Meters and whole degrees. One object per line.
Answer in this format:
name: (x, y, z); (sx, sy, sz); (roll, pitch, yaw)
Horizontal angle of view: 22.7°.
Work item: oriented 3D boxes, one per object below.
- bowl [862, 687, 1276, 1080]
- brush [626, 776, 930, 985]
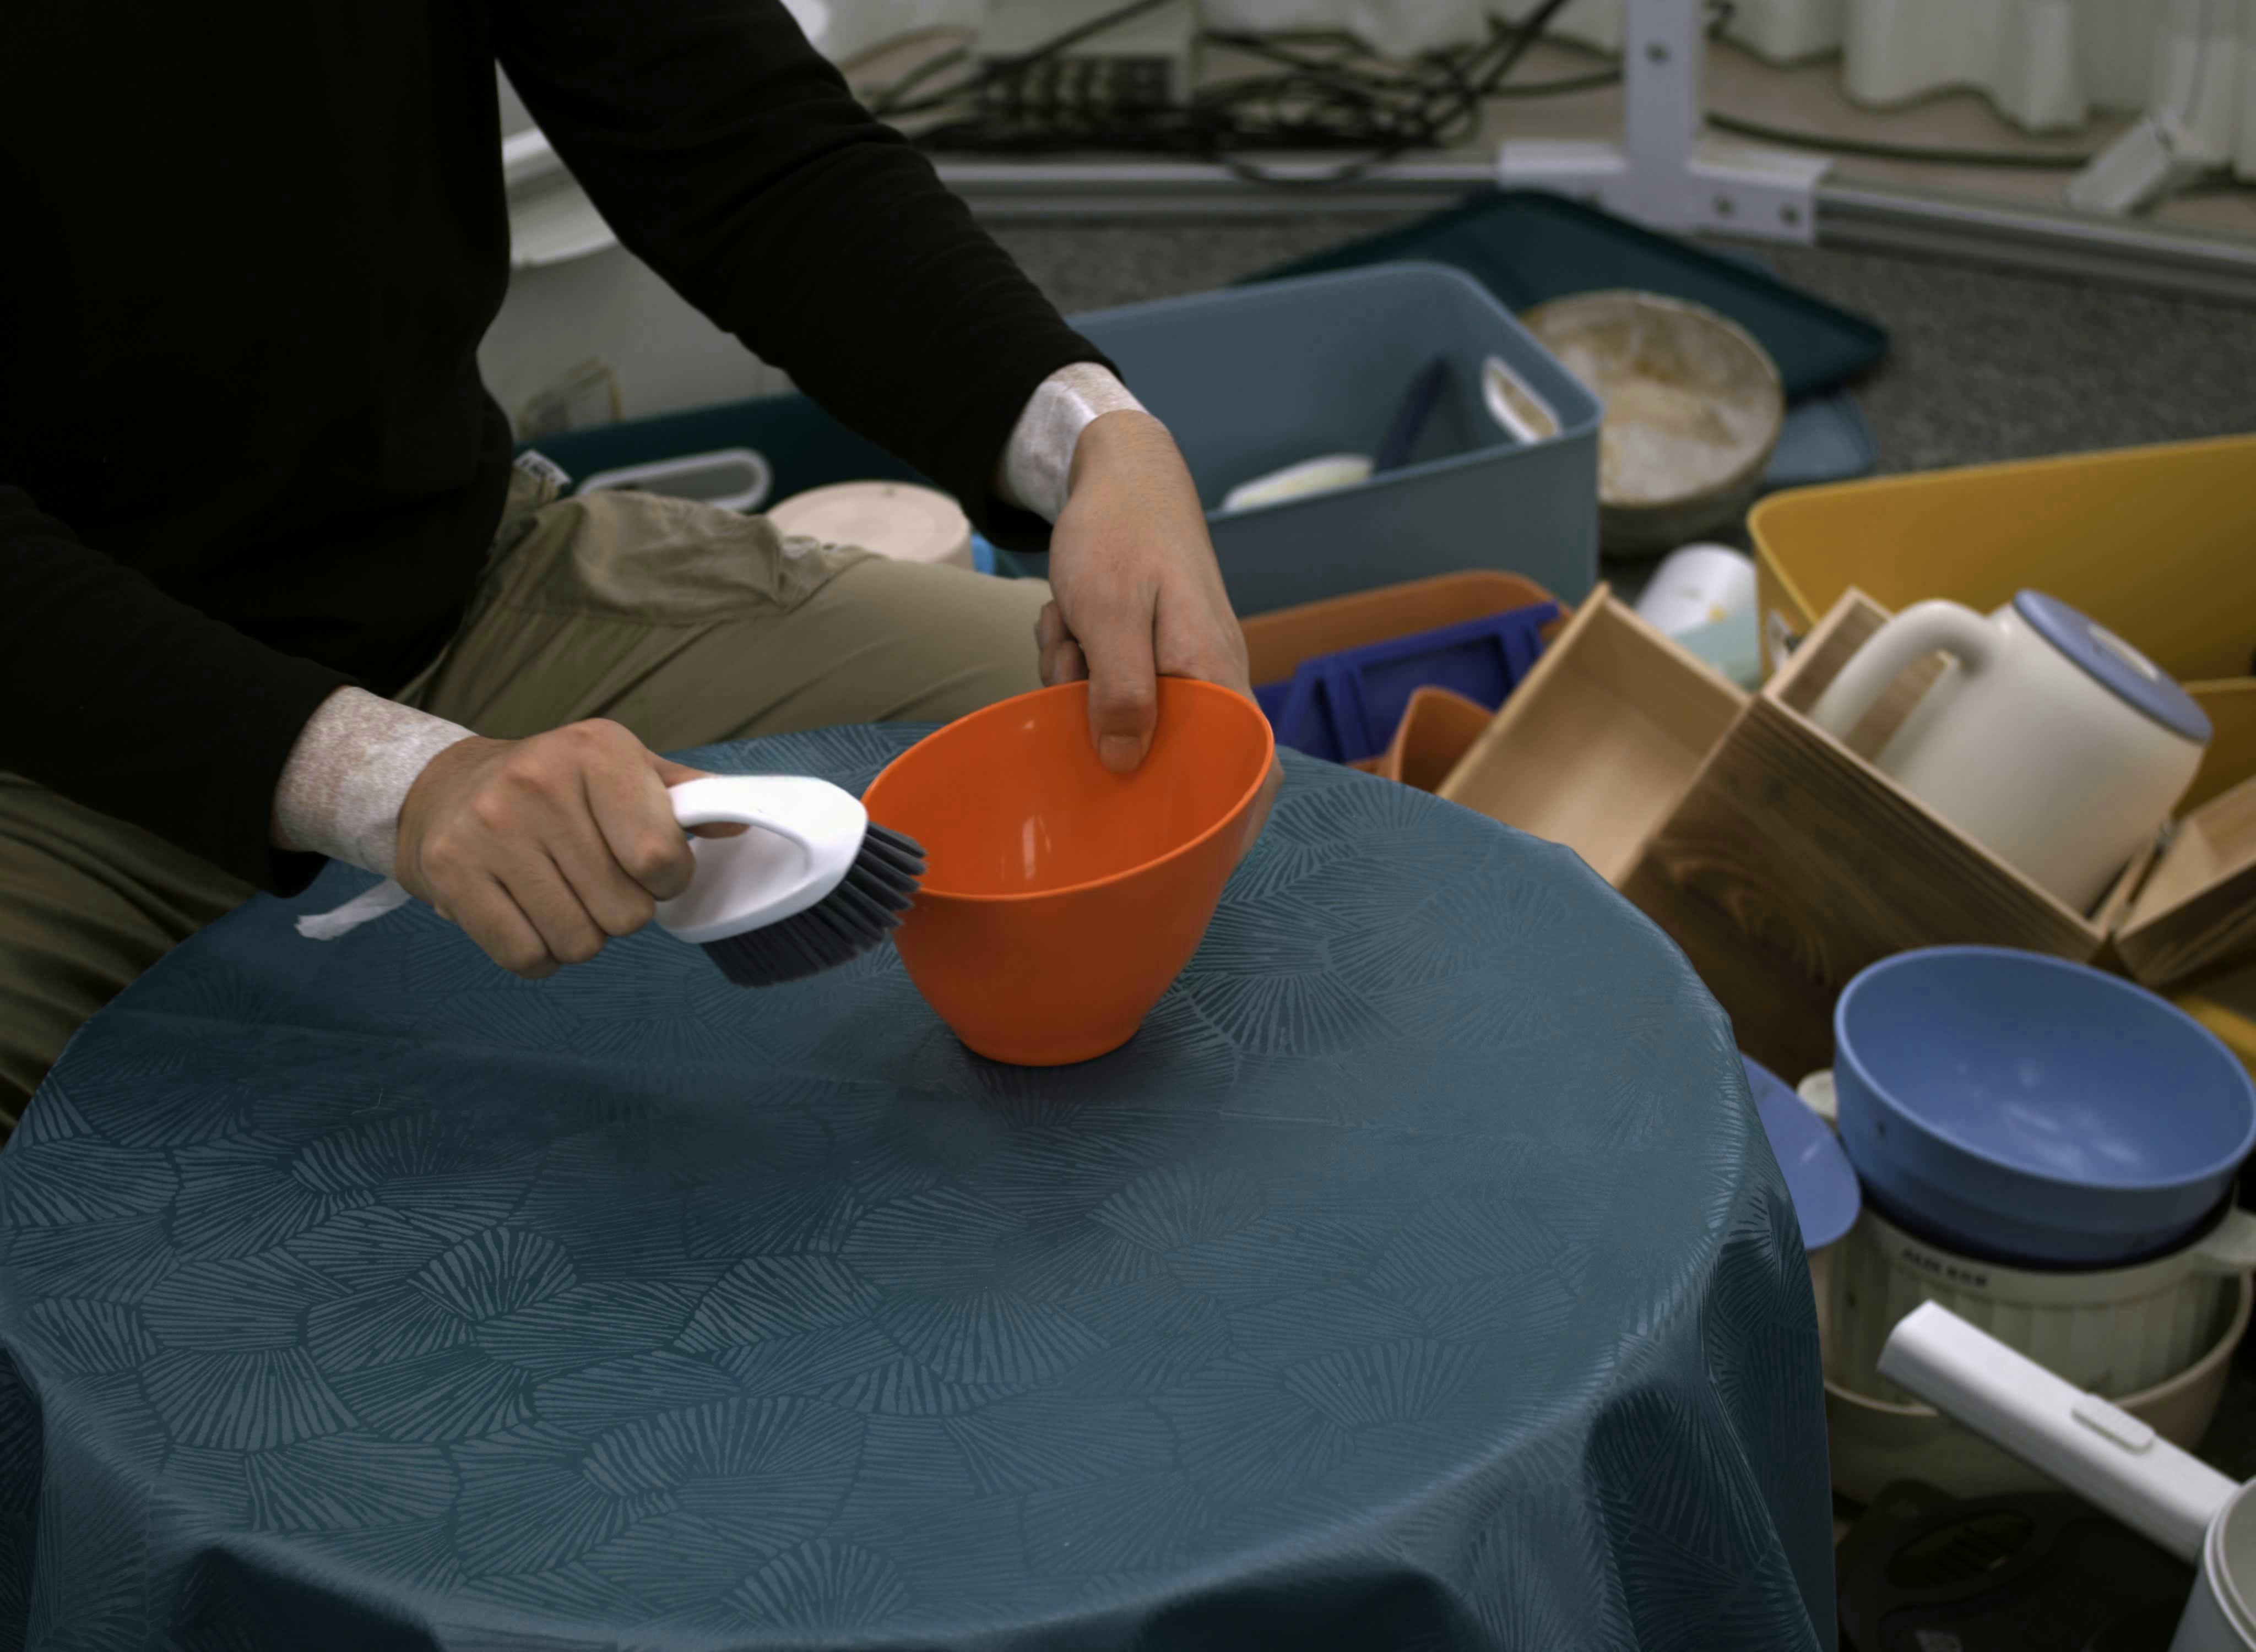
bowl: (-0.019, 0.025, 1.944); (0.147, 0.103, 0.150); (-3, 26, 2)
brush: (-0.122, 0.011, 1.839); (0.098, 0.072, 0.051); (-15, 47, 48)
